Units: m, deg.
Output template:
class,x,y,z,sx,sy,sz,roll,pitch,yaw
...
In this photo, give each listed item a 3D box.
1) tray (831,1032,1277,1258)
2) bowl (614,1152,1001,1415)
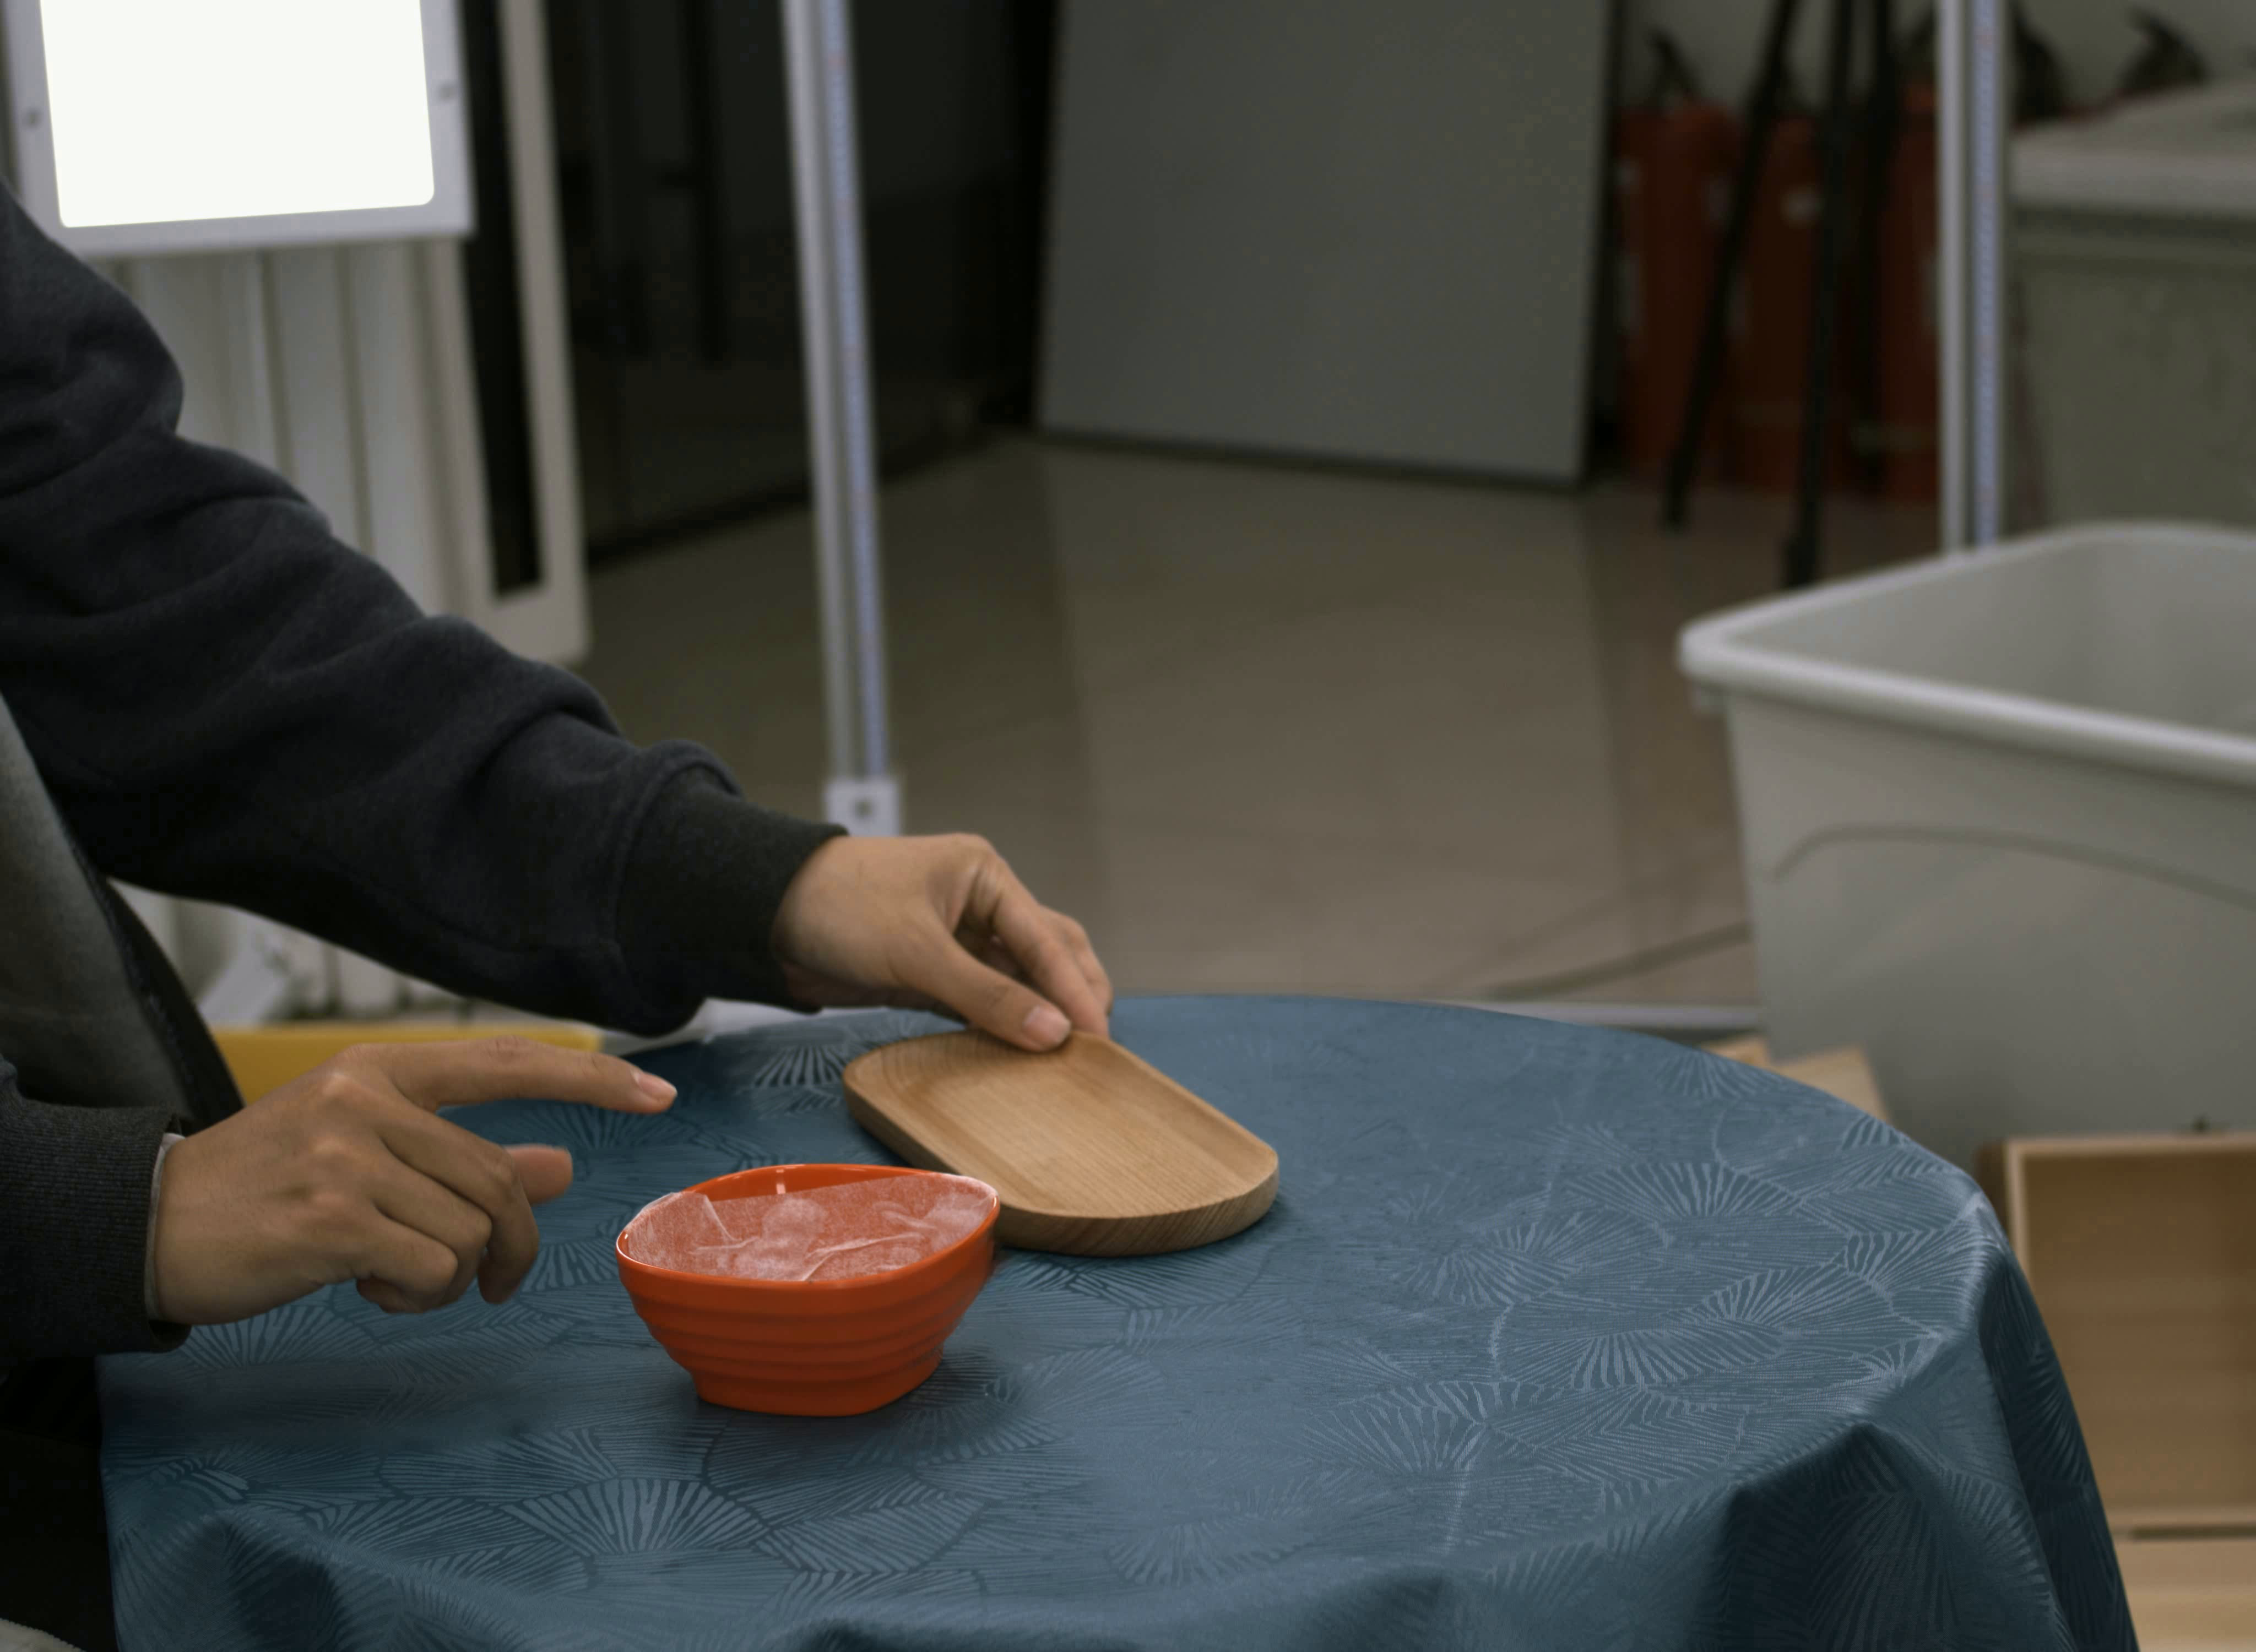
class,x,y,z,sx,sy,sz,roll,pitch,yaw
tray,-0.027,0.105,1.809,0.099,0.020,0.233,-8,13,-21
bowl,-0.094,0.138,1.607,0.117,0.052,0.119,-3,15,0
